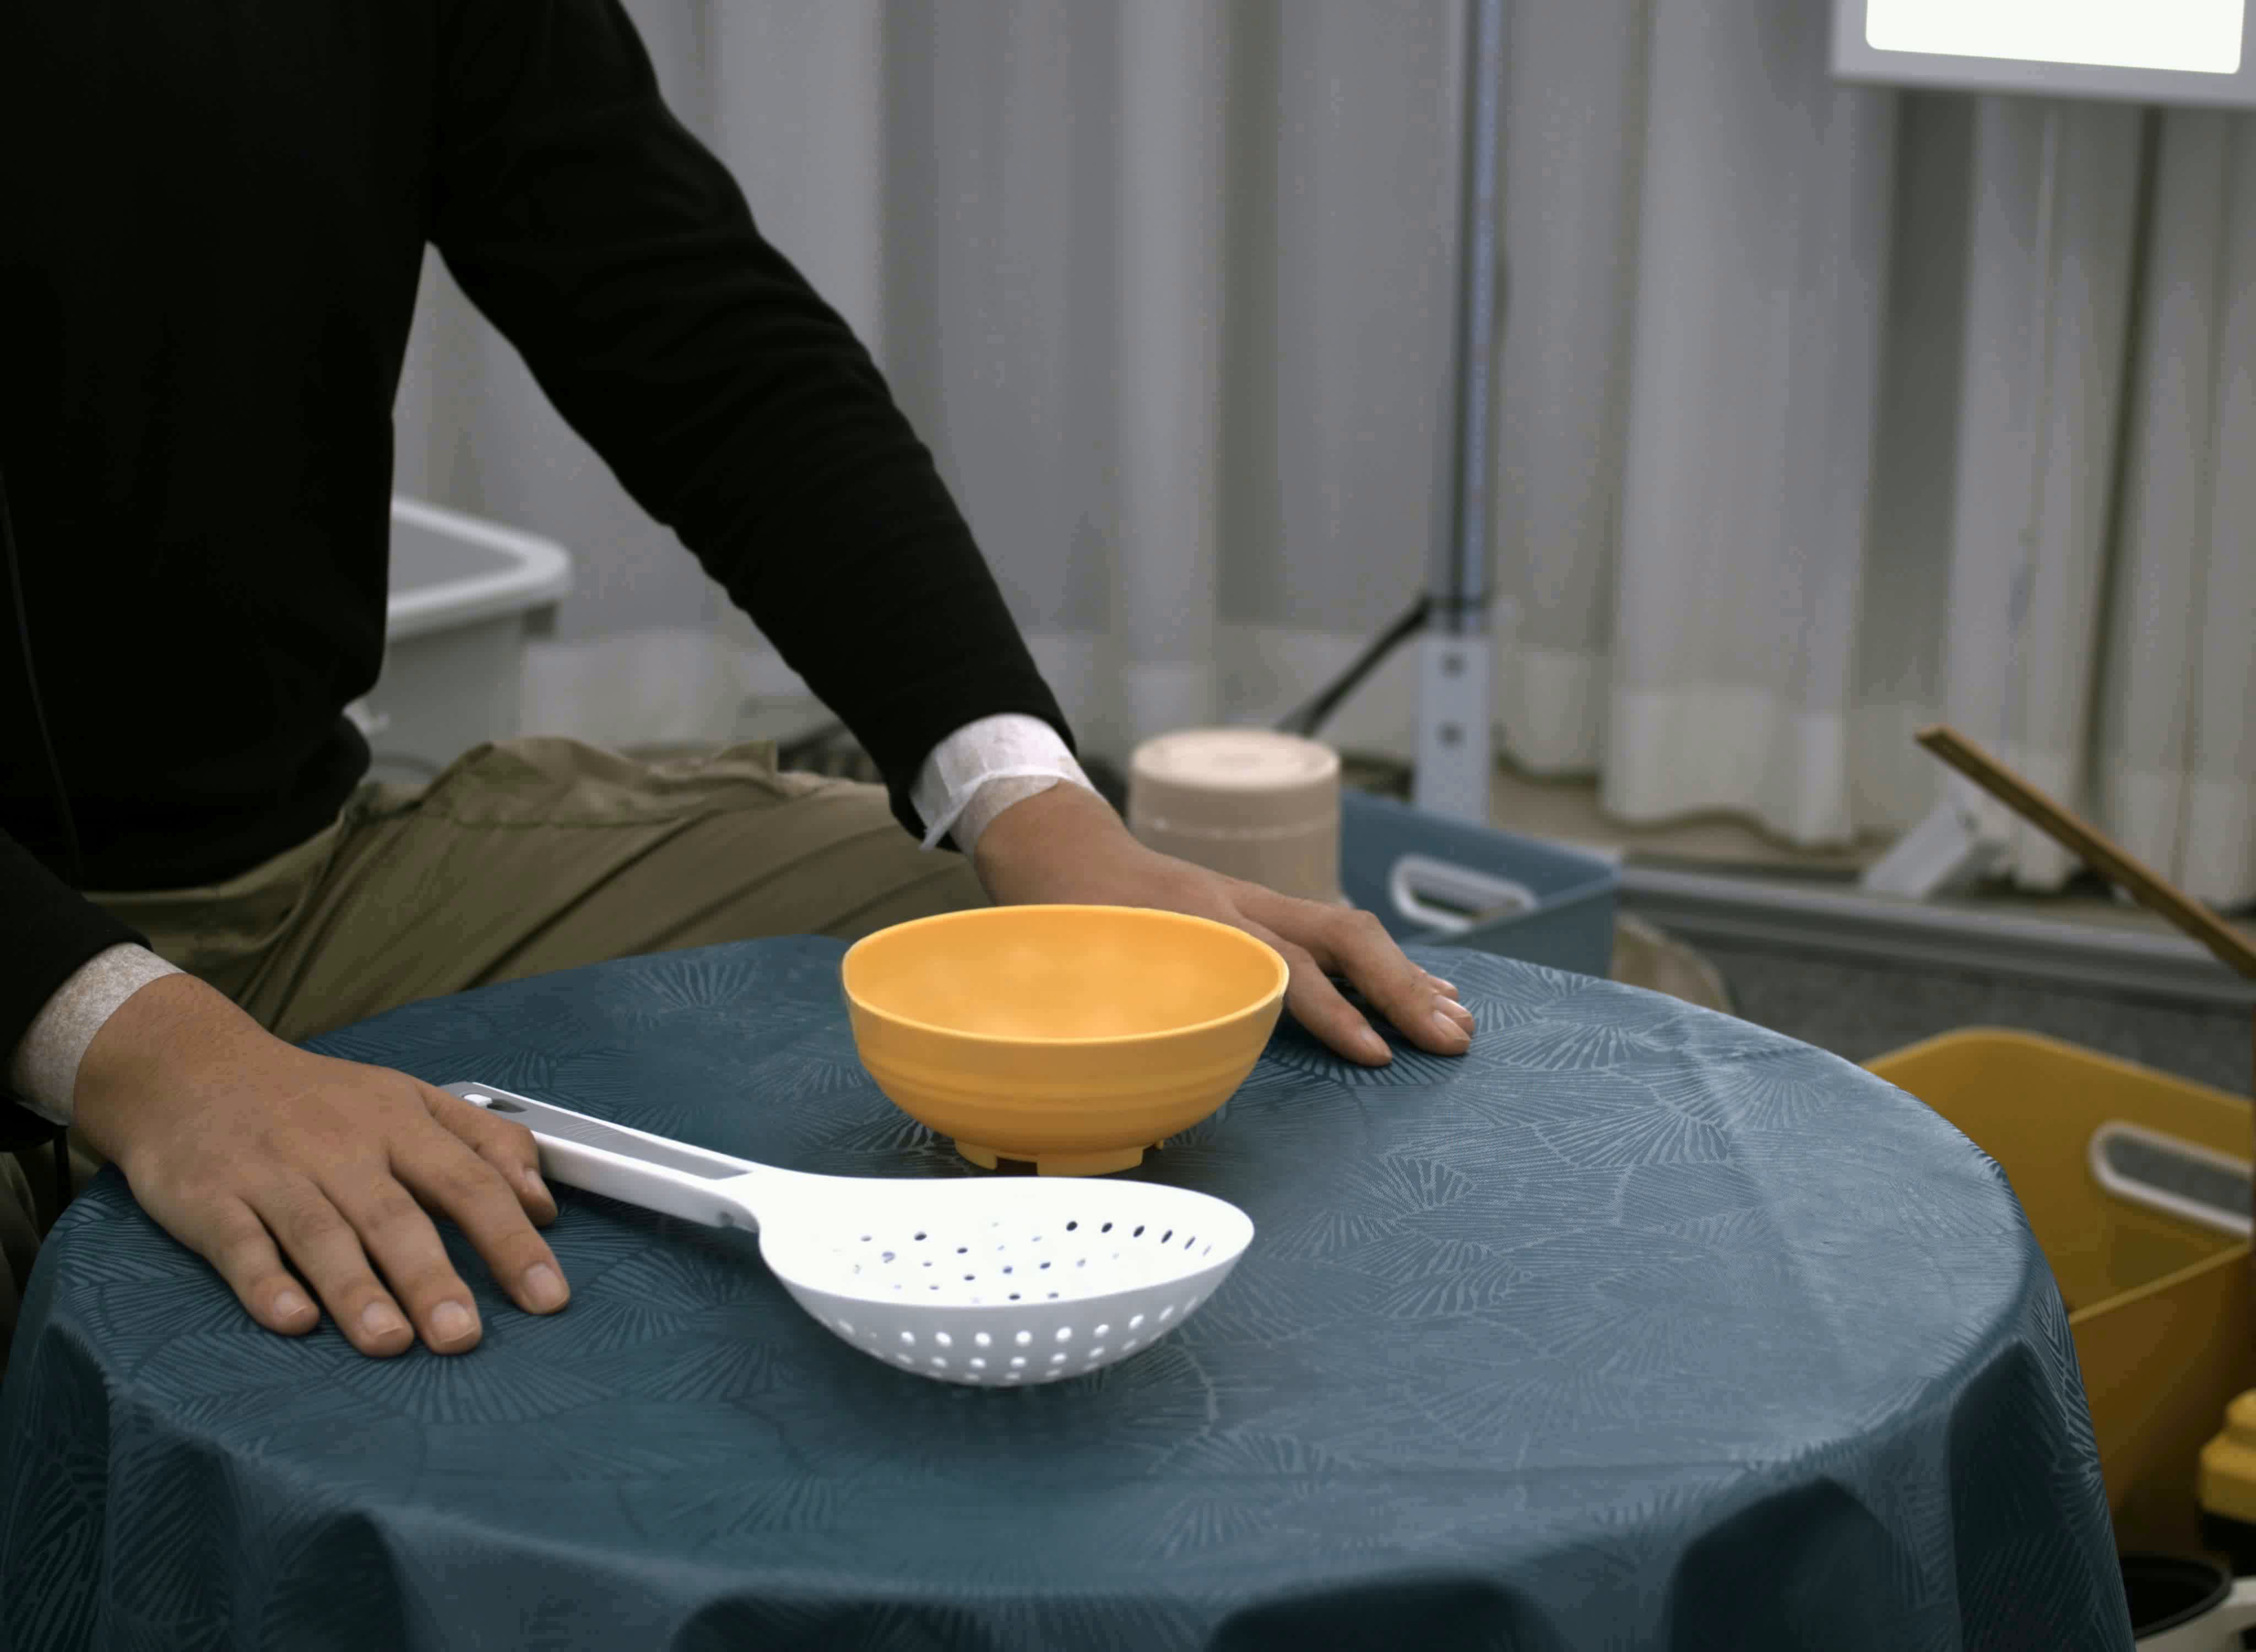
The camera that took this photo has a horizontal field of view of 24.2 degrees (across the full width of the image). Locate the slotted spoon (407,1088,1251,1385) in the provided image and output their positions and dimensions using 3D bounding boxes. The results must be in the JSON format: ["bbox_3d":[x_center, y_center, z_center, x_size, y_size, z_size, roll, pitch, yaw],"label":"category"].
[{"bbox_3d":[-0.105,0.110,1.540,0.137,0.046,0.345,-12,19,-41],"label":"slotted spoon"}]

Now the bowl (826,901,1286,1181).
[{"bbox_3d":[-0.024,0.073,1.656,0.145,0.060,0.144,3,17,0],"label":"bowl"}]
